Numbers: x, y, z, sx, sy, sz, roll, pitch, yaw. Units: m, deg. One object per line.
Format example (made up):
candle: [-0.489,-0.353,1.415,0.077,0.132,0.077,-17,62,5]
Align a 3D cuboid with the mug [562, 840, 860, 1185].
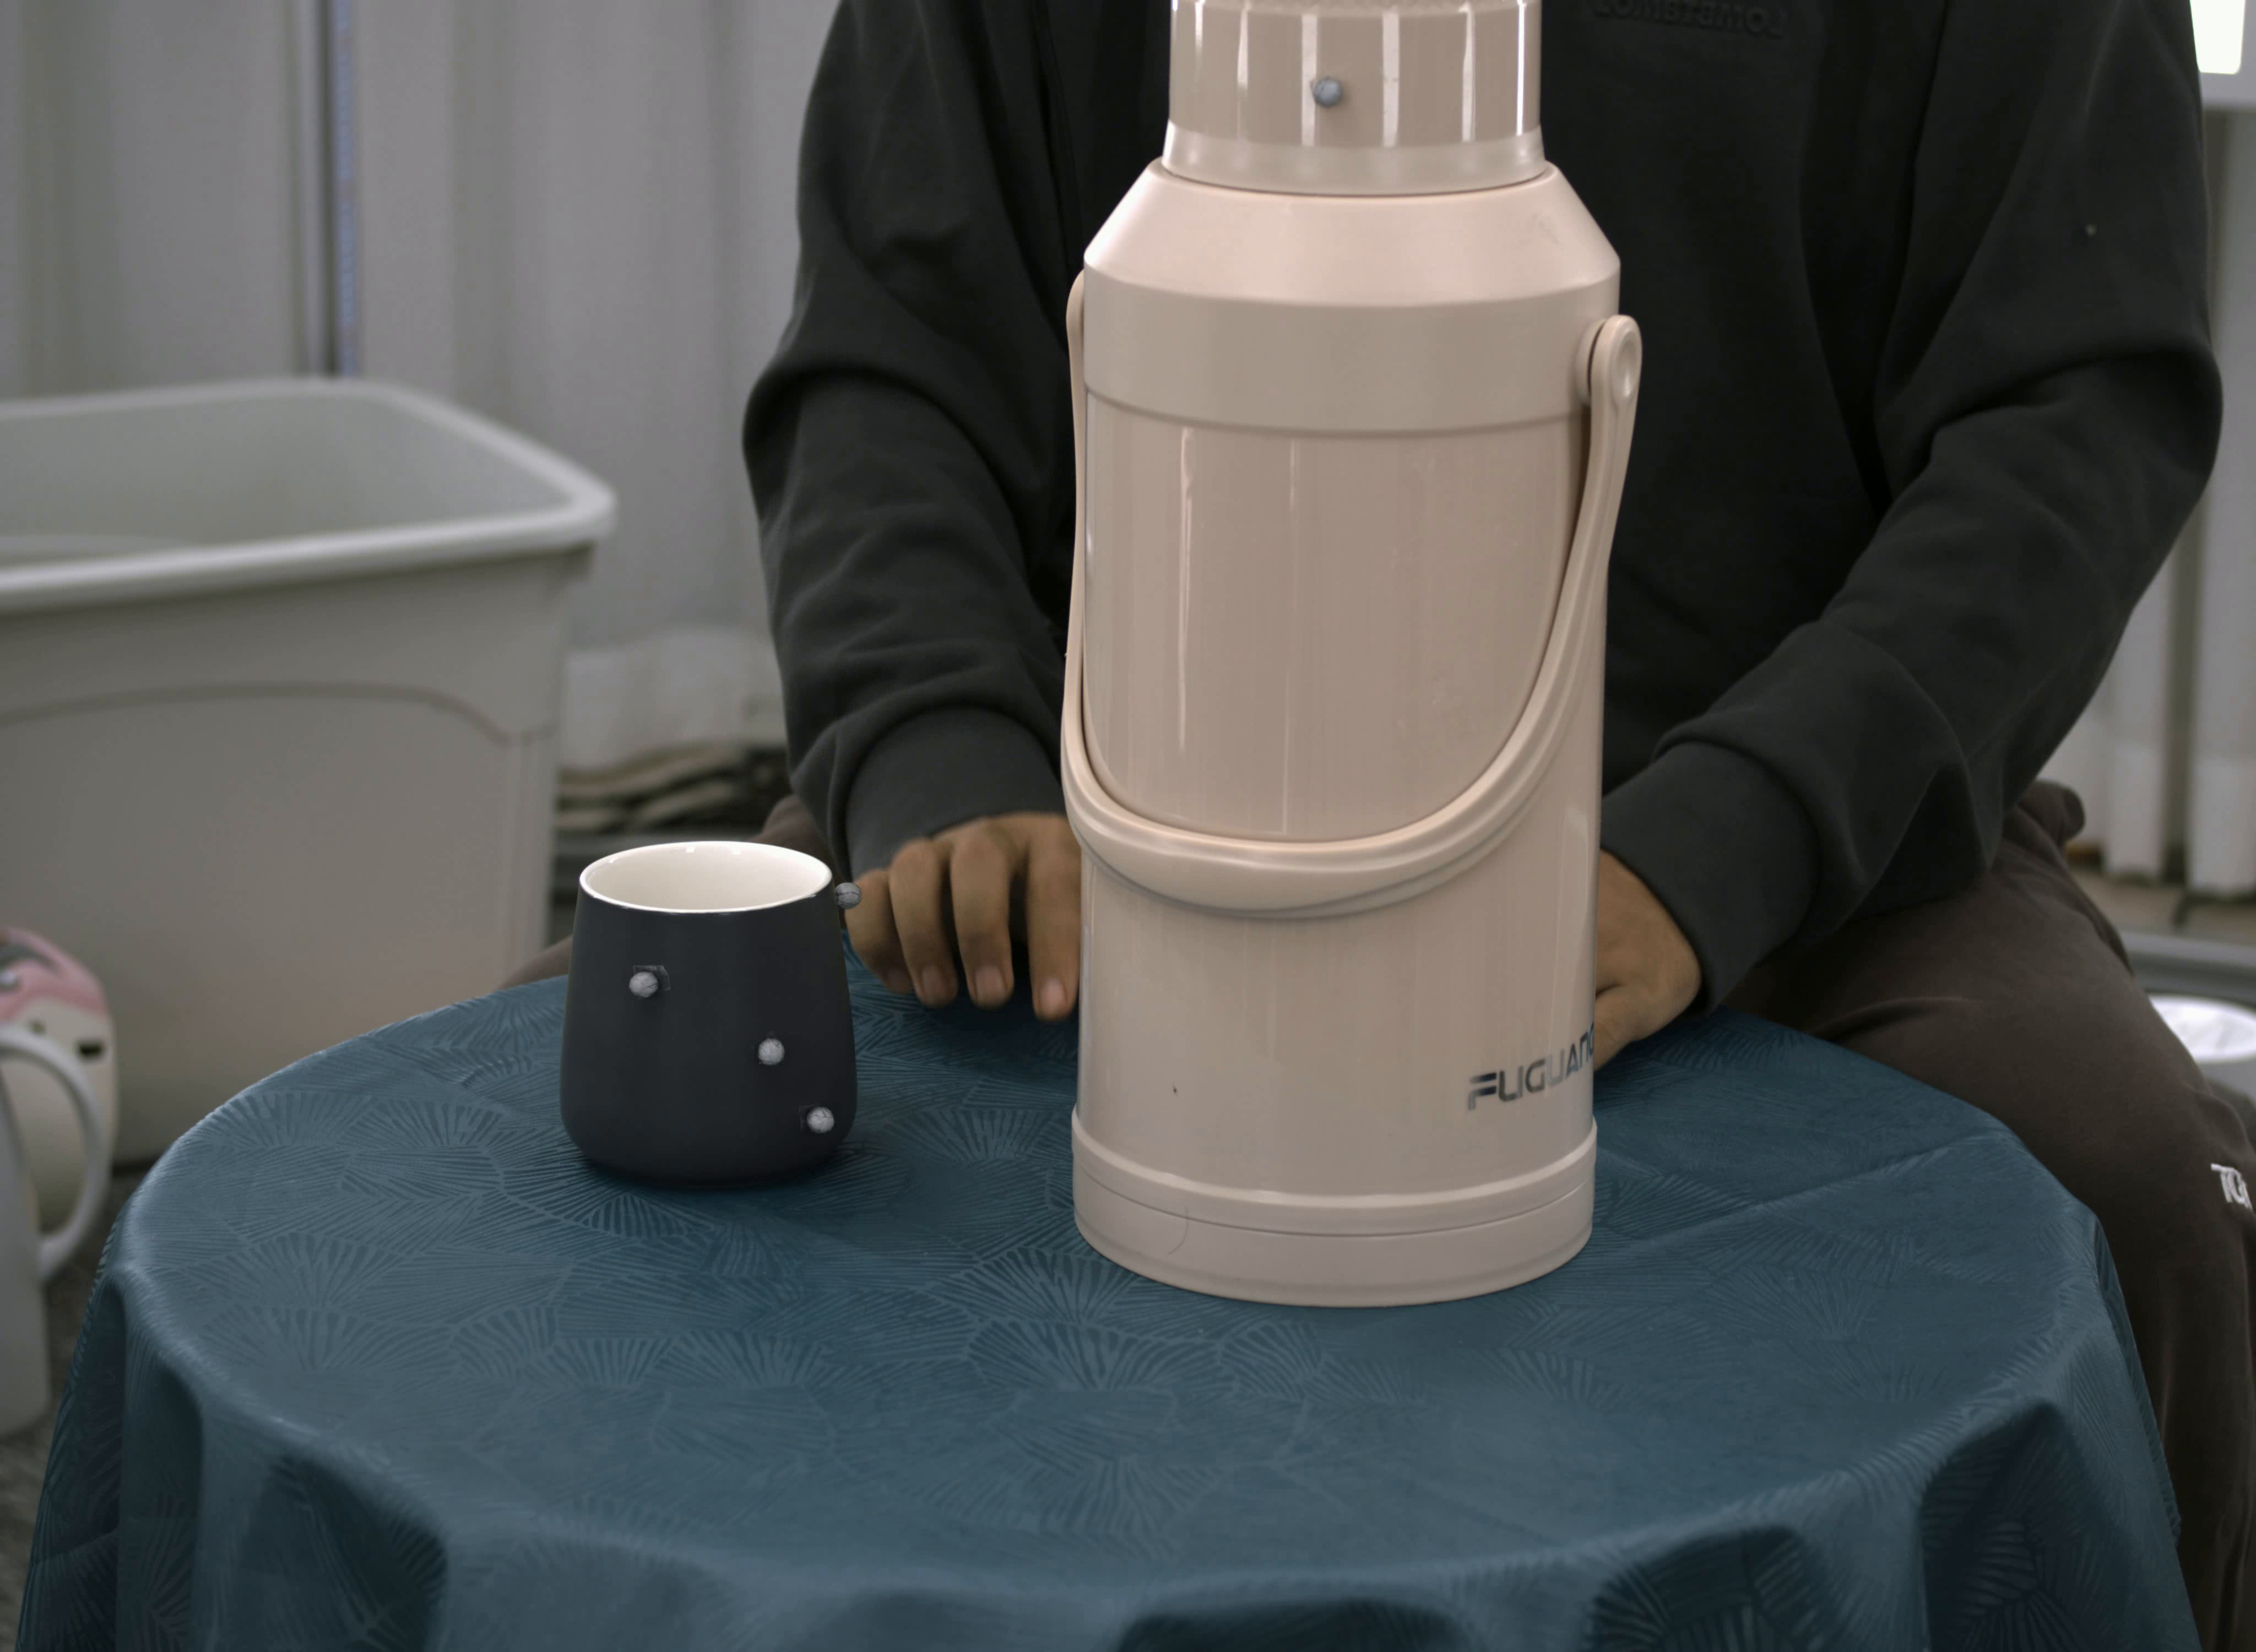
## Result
mug: [-0.125,0.054,1.658,0.092,0.090,0.123,6,17,19]

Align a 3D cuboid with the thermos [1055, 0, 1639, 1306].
thermos: [0.070,-0.076,1.562,0.173,0.410,0.207,8,18,26]
